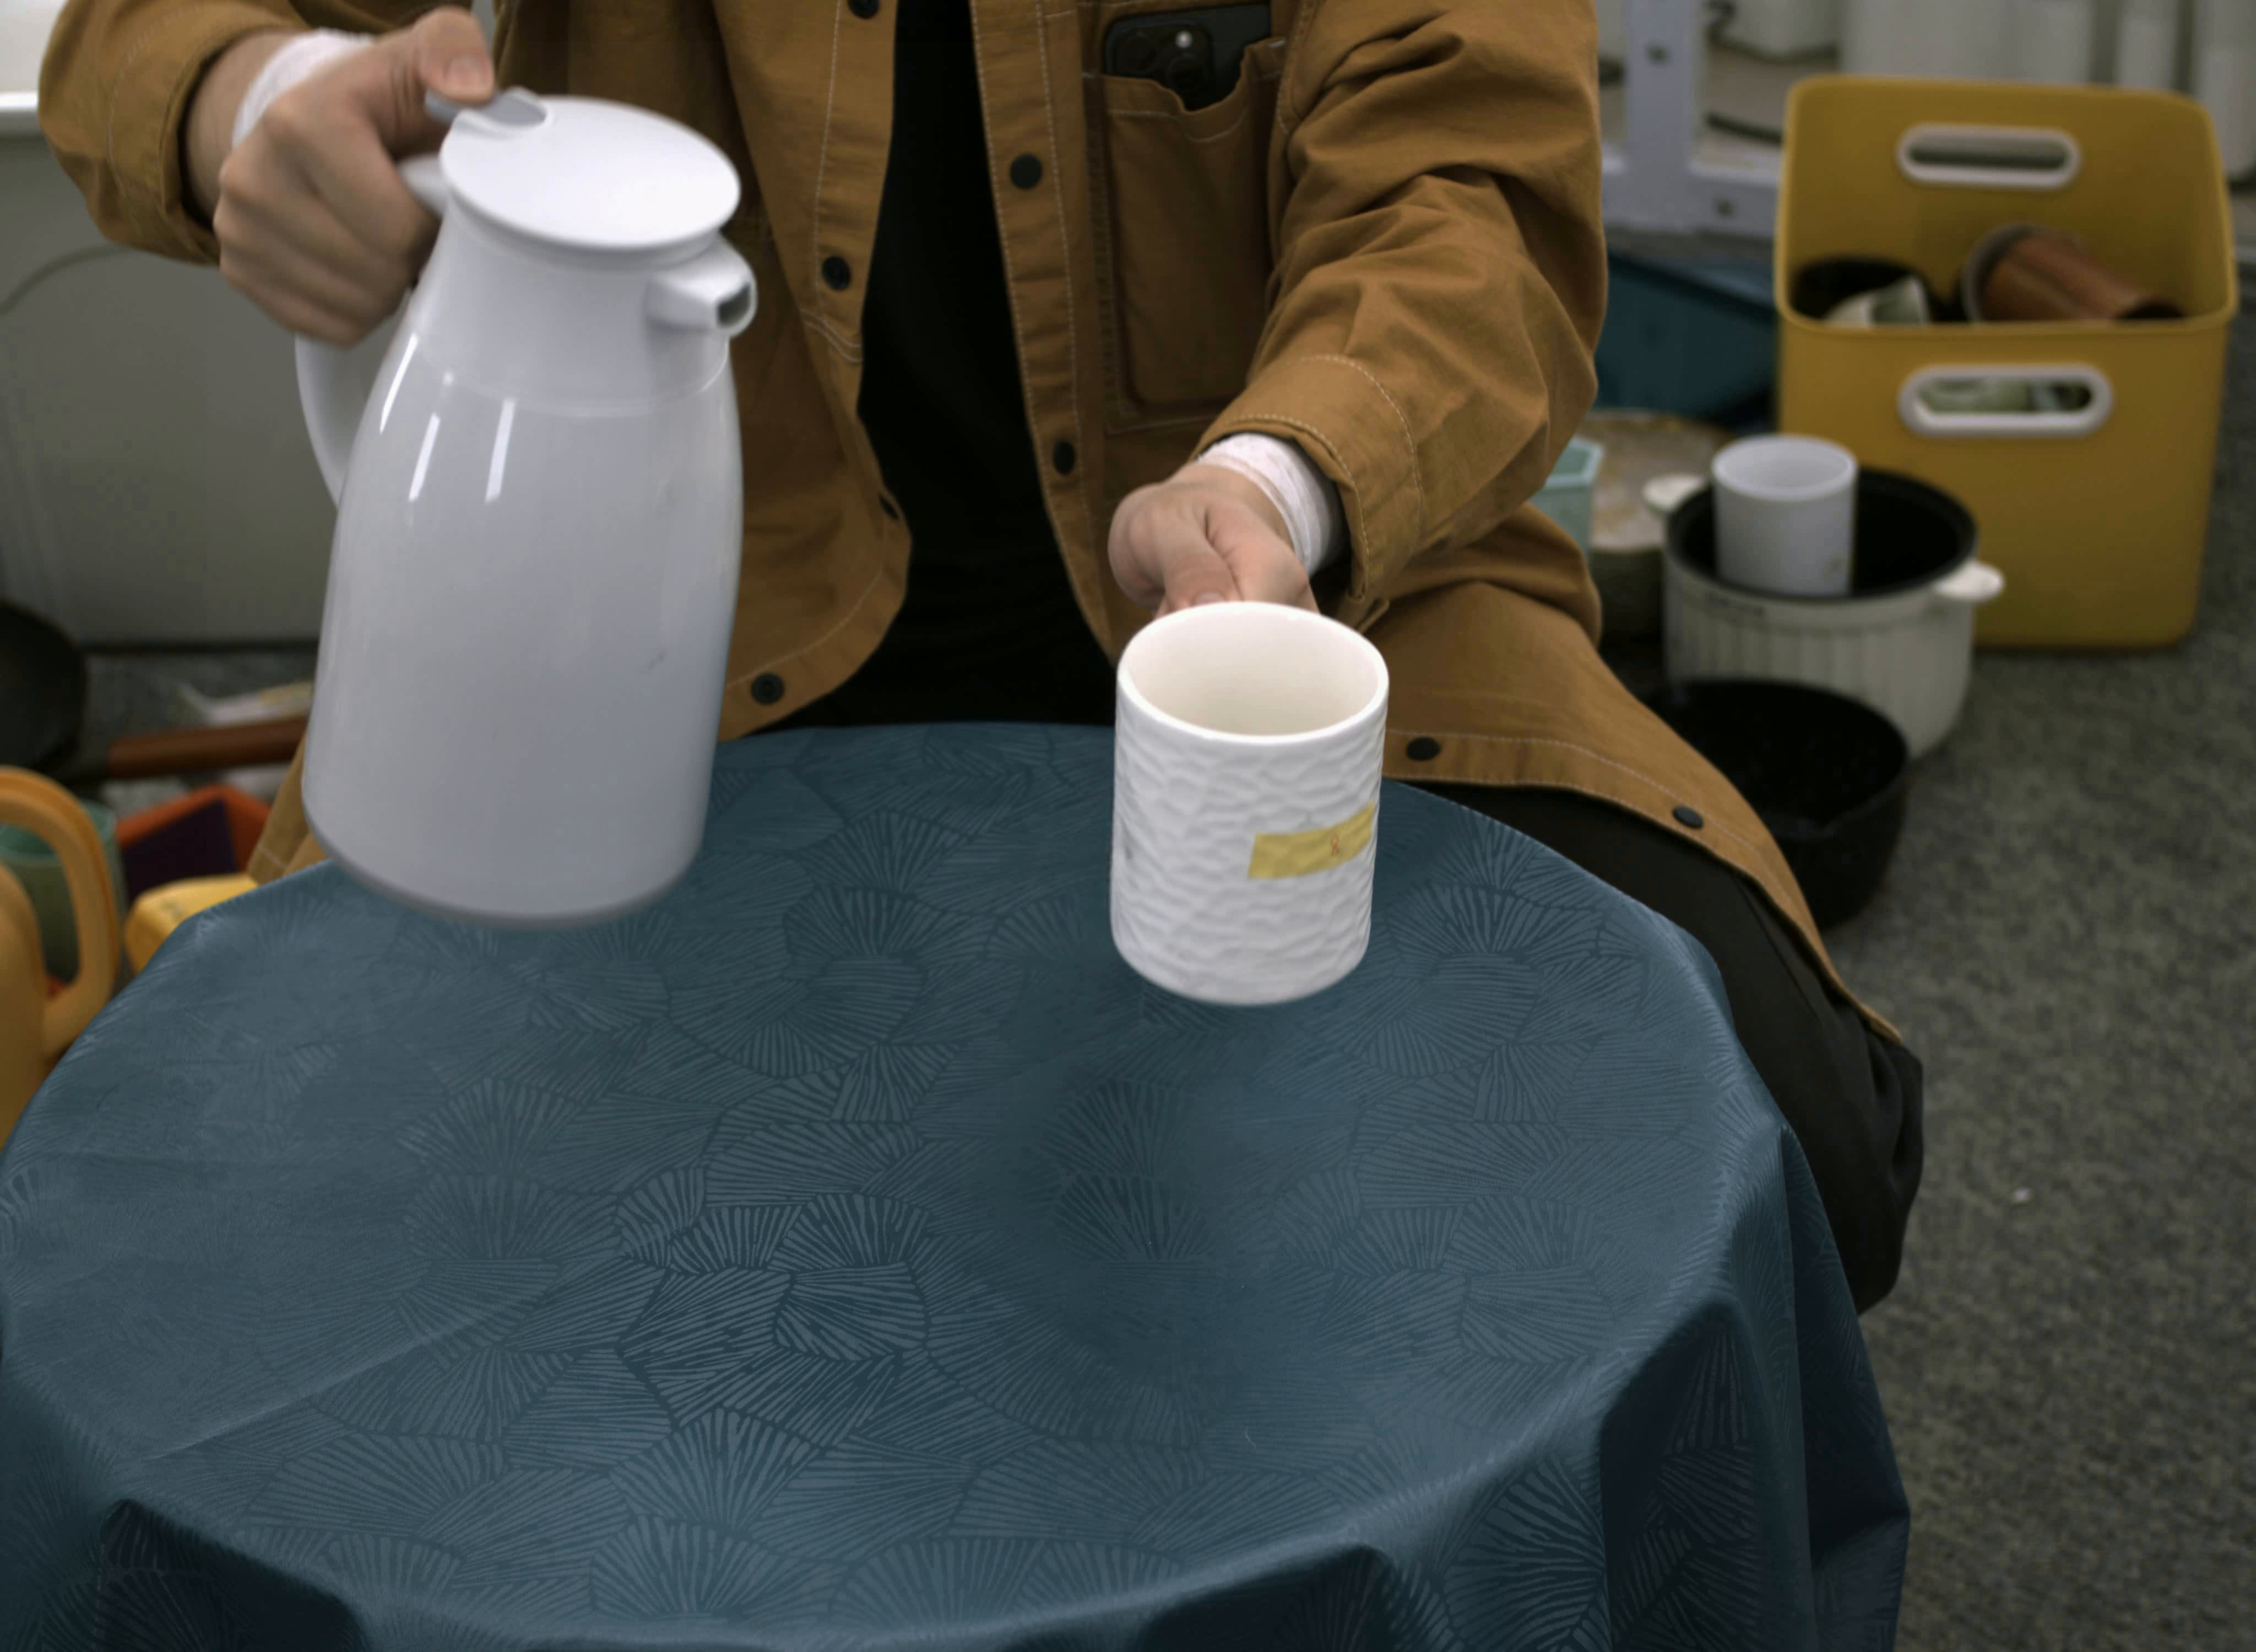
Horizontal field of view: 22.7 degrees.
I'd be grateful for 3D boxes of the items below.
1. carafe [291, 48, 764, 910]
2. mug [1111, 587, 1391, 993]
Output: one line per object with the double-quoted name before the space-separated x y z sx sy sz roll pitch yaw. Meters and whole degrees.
"carafe" -0.198 -0.119 1.778 0.167 0.245 0.134 28 35 23
"mug" 0.034 -0.018 1.790 0.085 0.101 0.120 -5 31 -14
